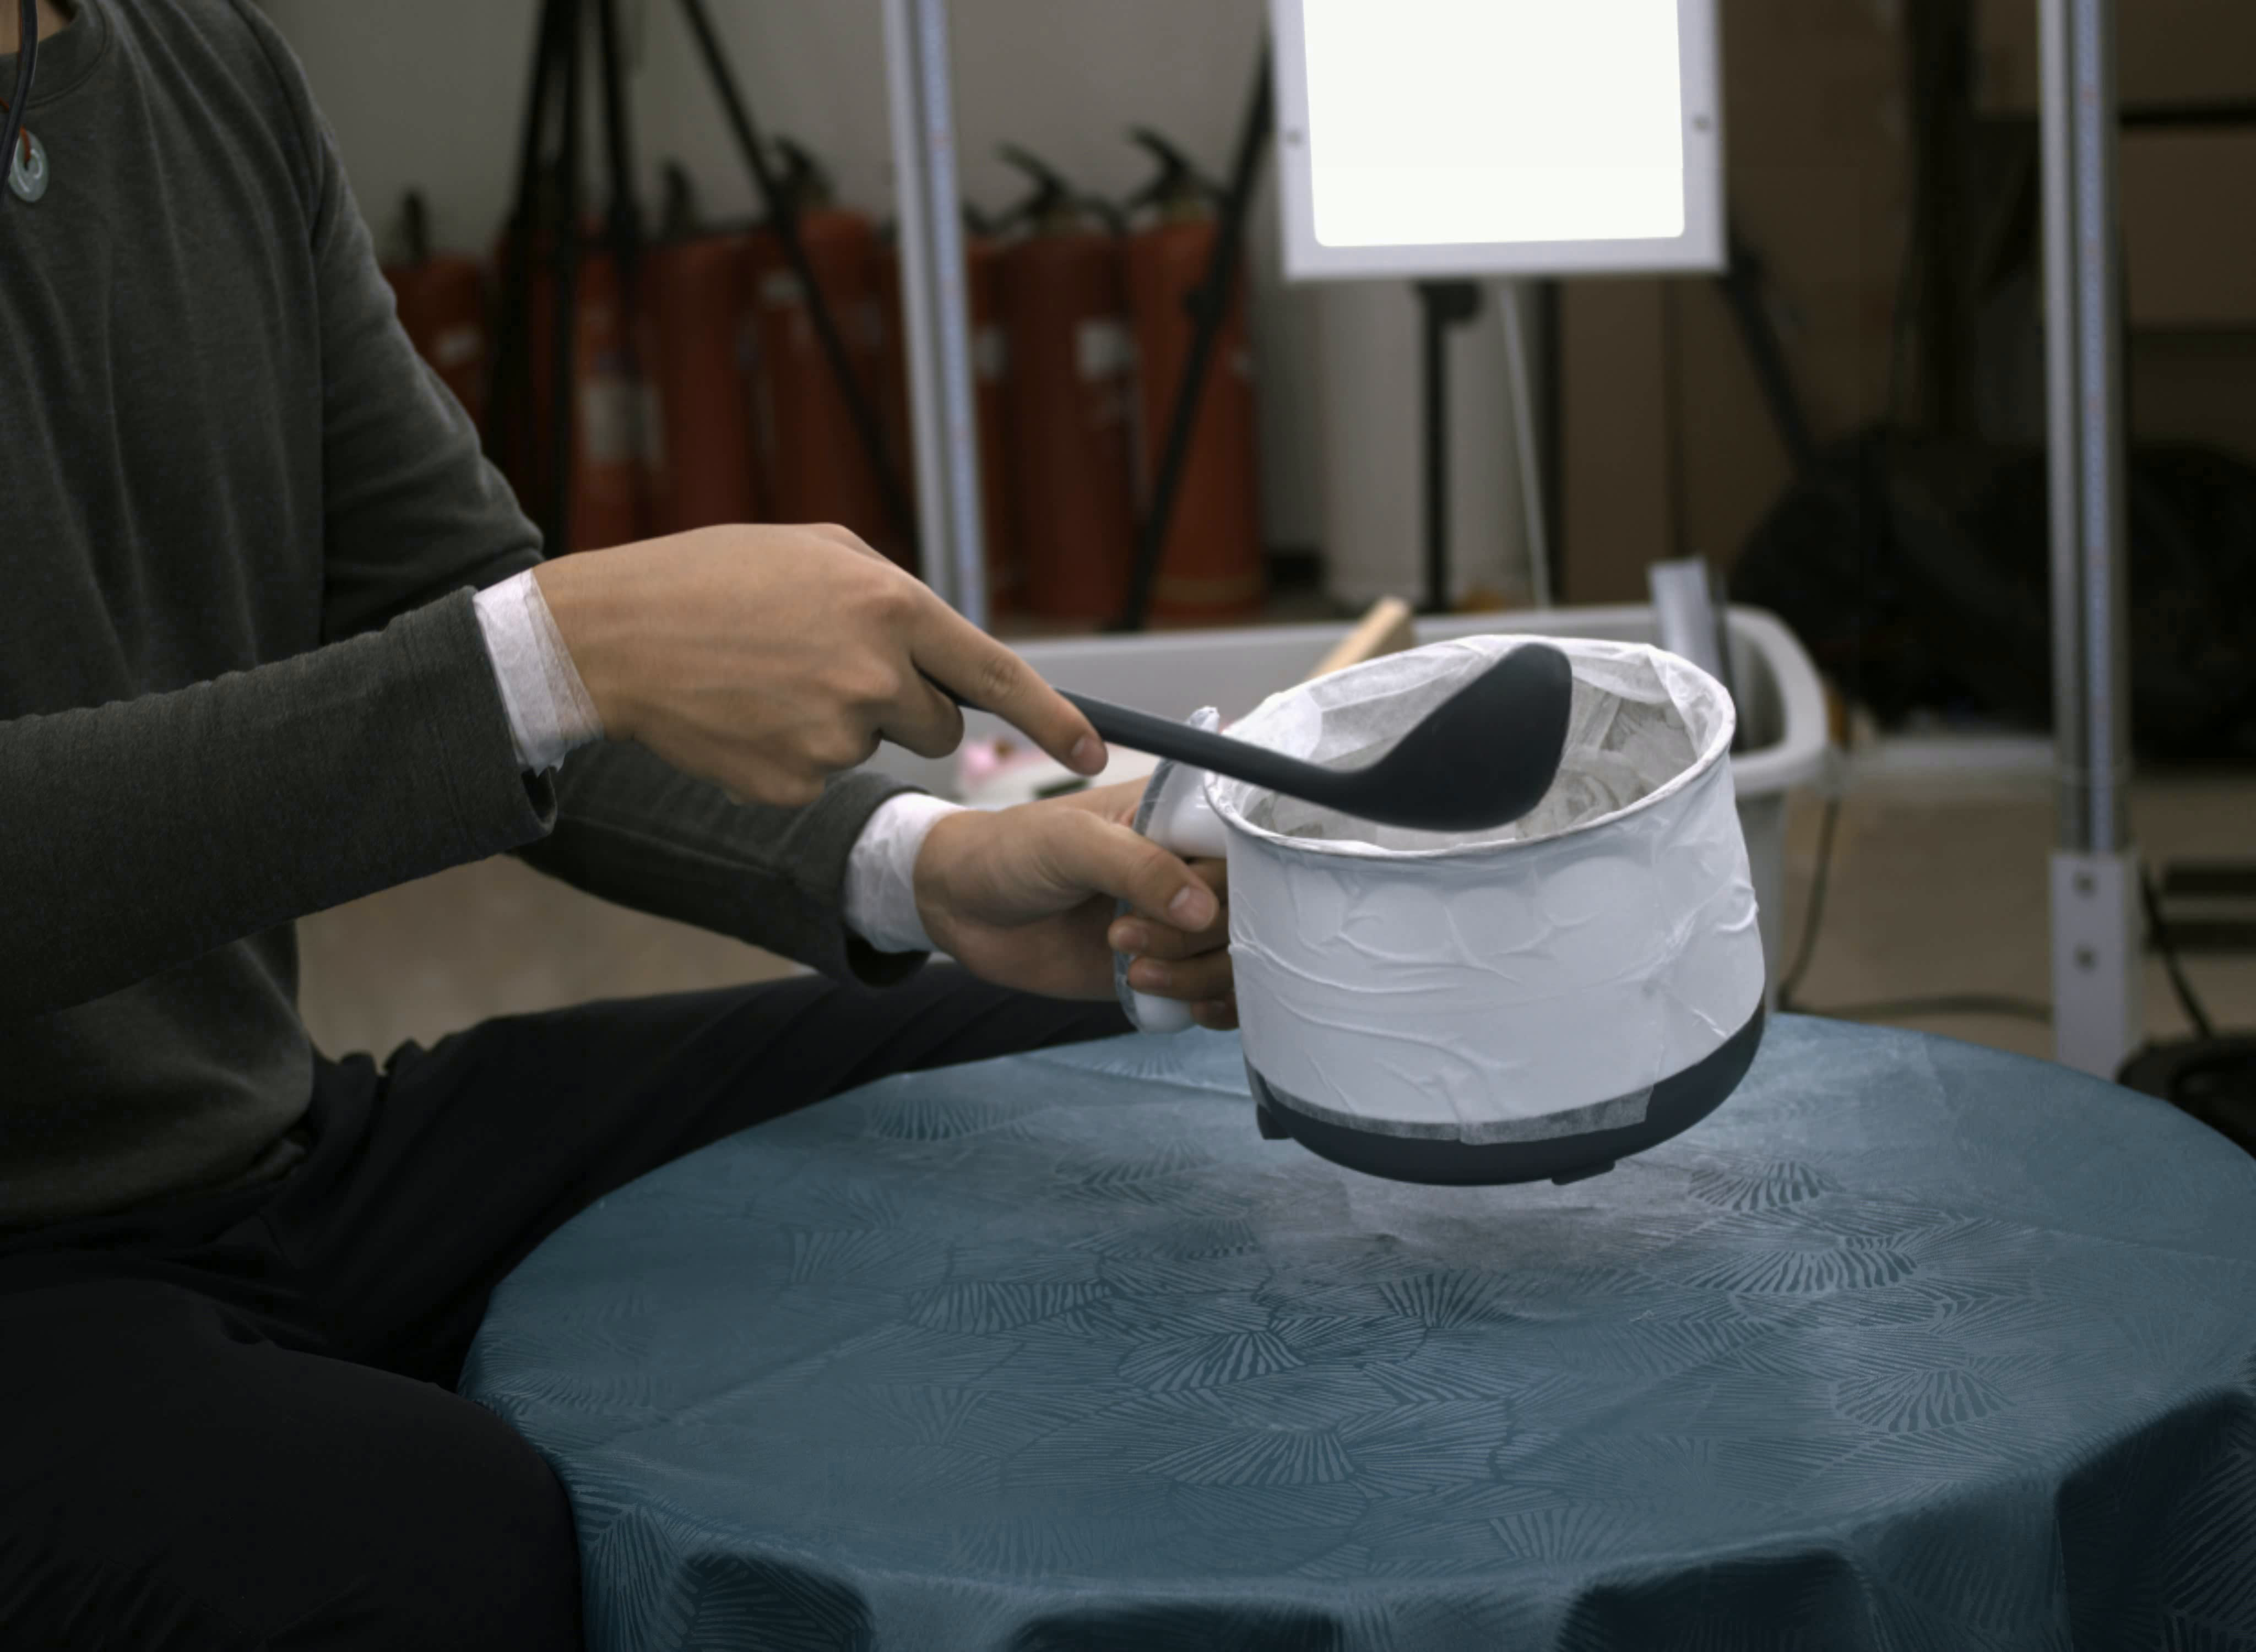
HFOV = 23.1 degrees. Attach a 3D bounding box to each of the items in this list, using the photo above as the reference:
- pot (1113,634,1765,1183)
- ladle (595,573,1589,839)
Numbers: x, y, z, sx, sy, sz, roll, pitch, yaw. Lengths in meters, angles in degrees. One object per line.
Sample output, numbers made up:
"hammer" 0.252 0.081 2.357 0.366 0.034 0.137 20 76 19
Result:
"pot" 0.097 0.026 1.840 0.238 0.137 0.175 5 26 30
"ladle" -0.011 -0.056 1.707 0.316 0.063 0.086 15 -18 12
